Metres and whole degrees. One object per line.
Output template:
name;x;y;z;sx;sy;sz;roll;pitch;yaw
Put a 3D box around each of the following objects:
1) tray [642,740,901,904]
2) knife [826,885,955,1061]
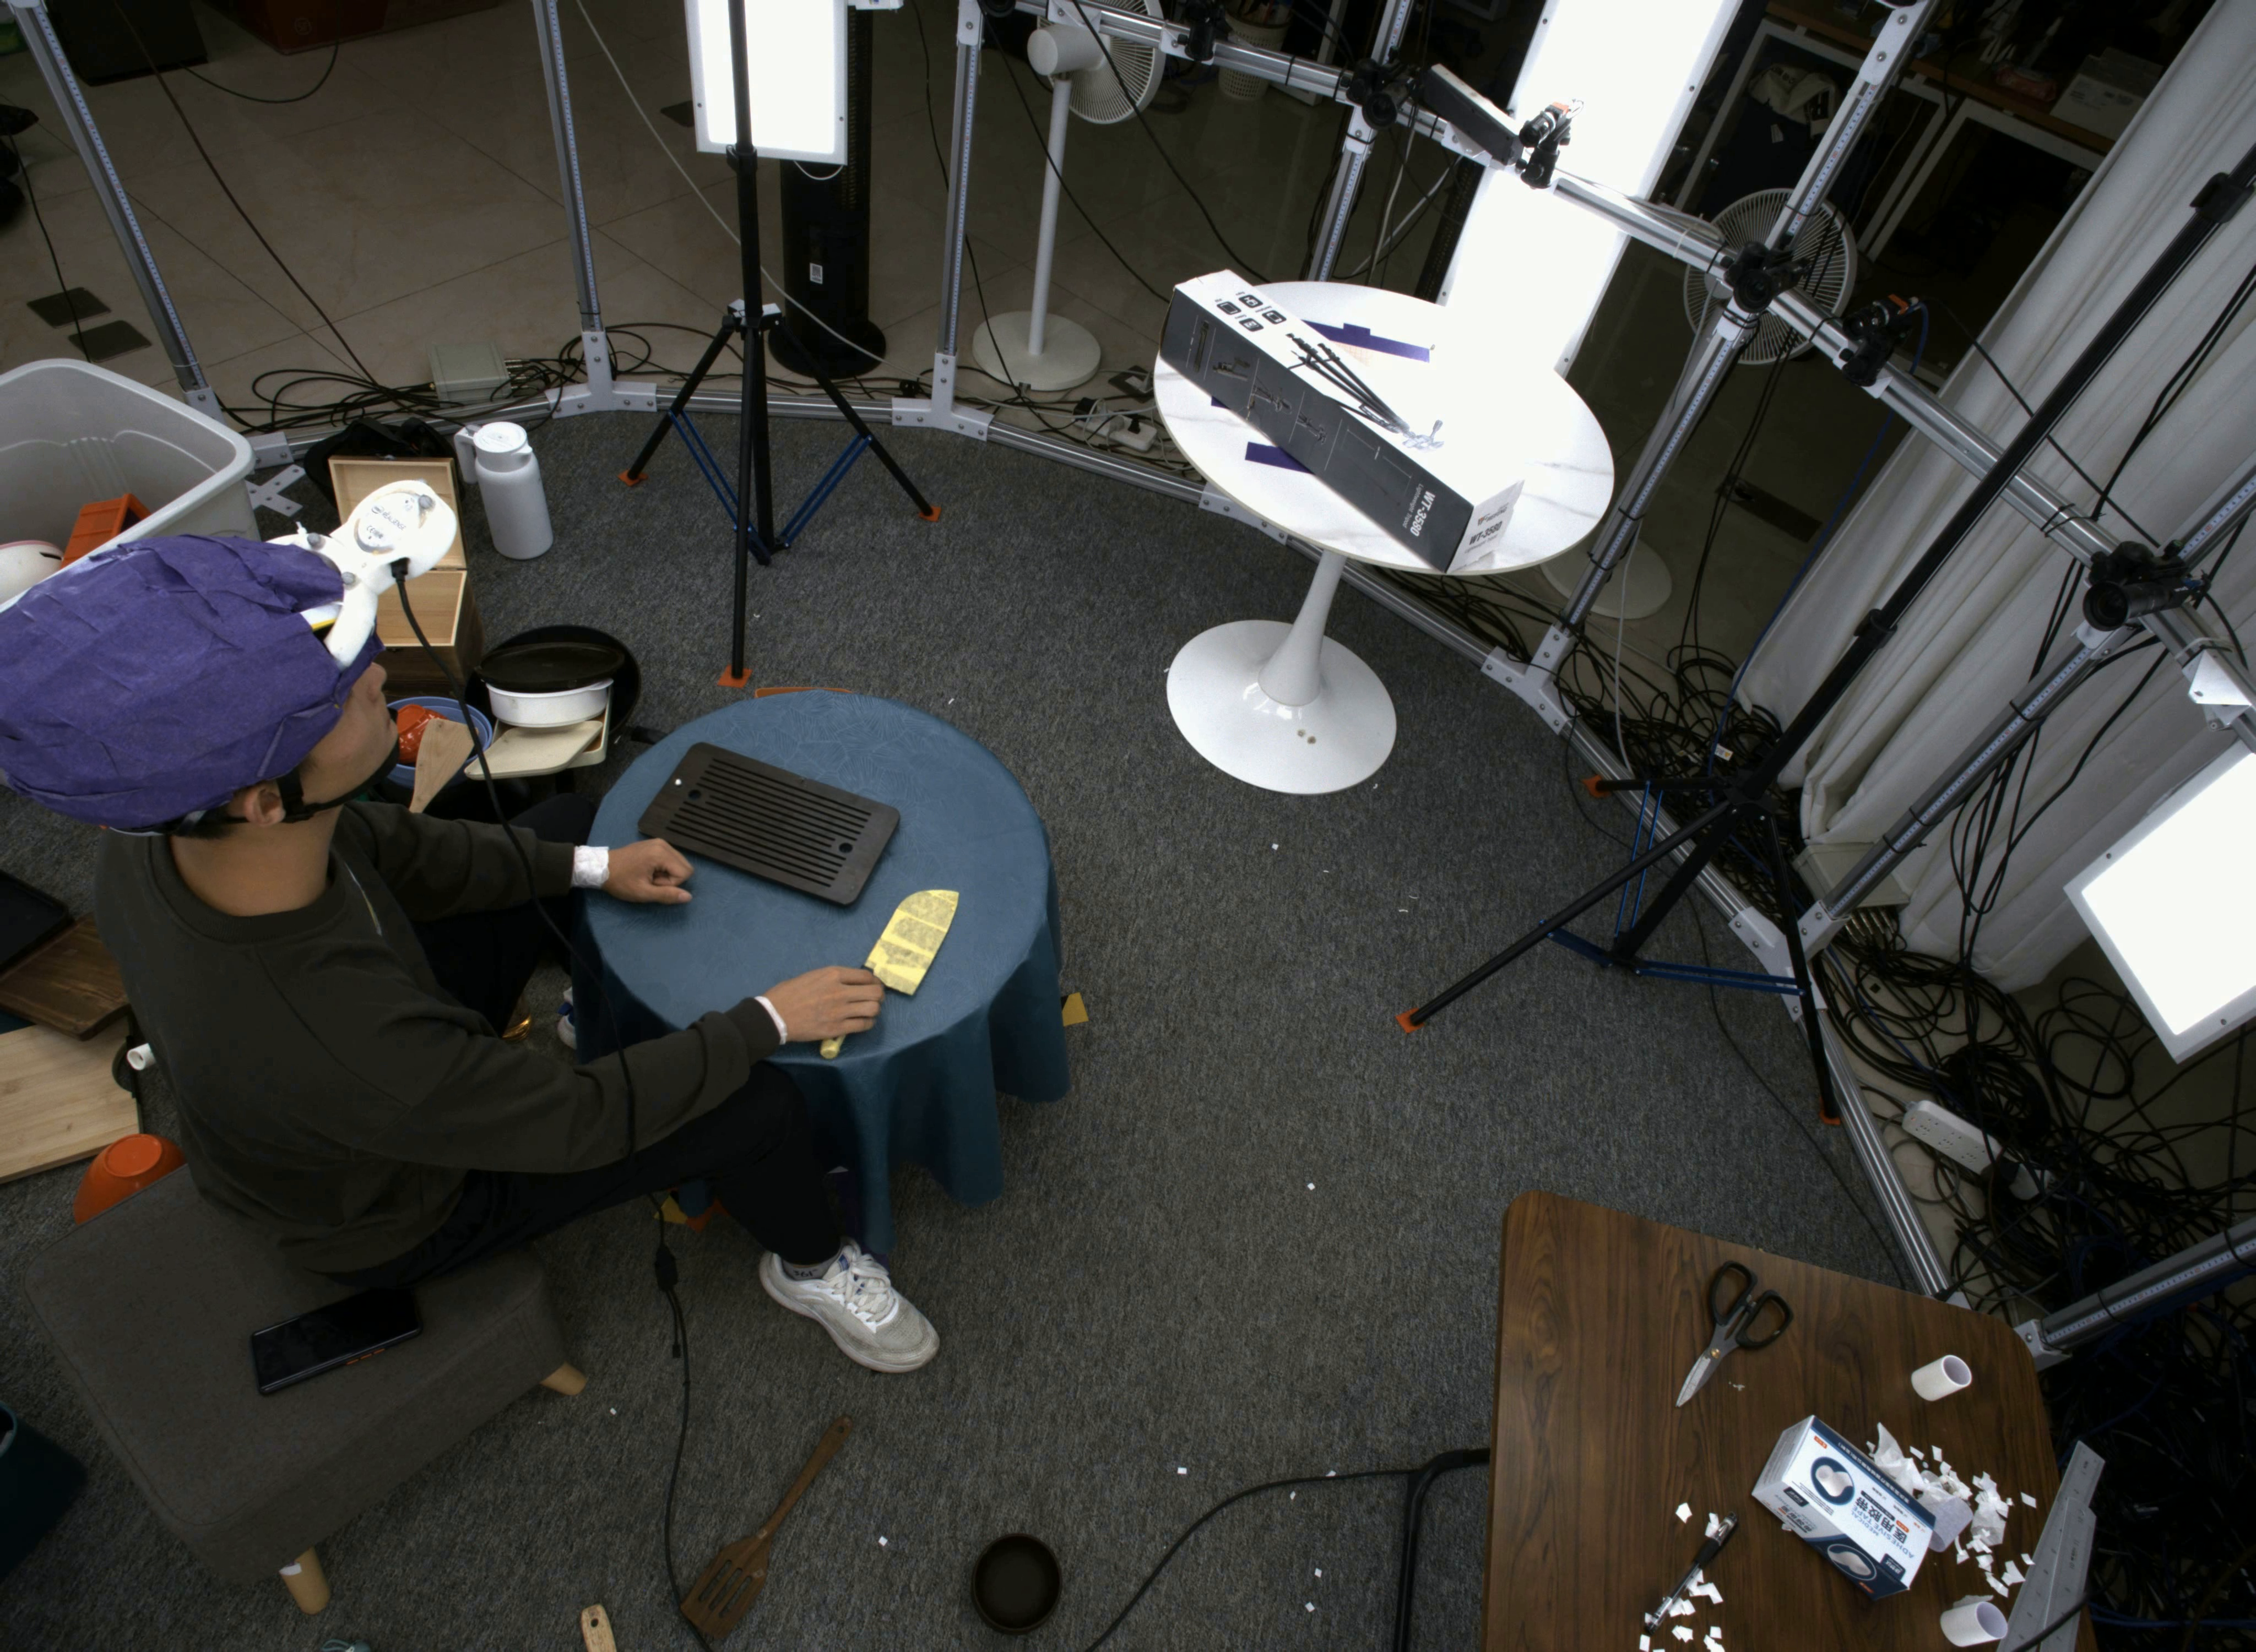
tray;-0.470;-0.007;1.717;0.303;0.019;0.168;19;52;1
knife;-0.293;0.176;1.626;0.079;0.028;0.287;19;50;10
